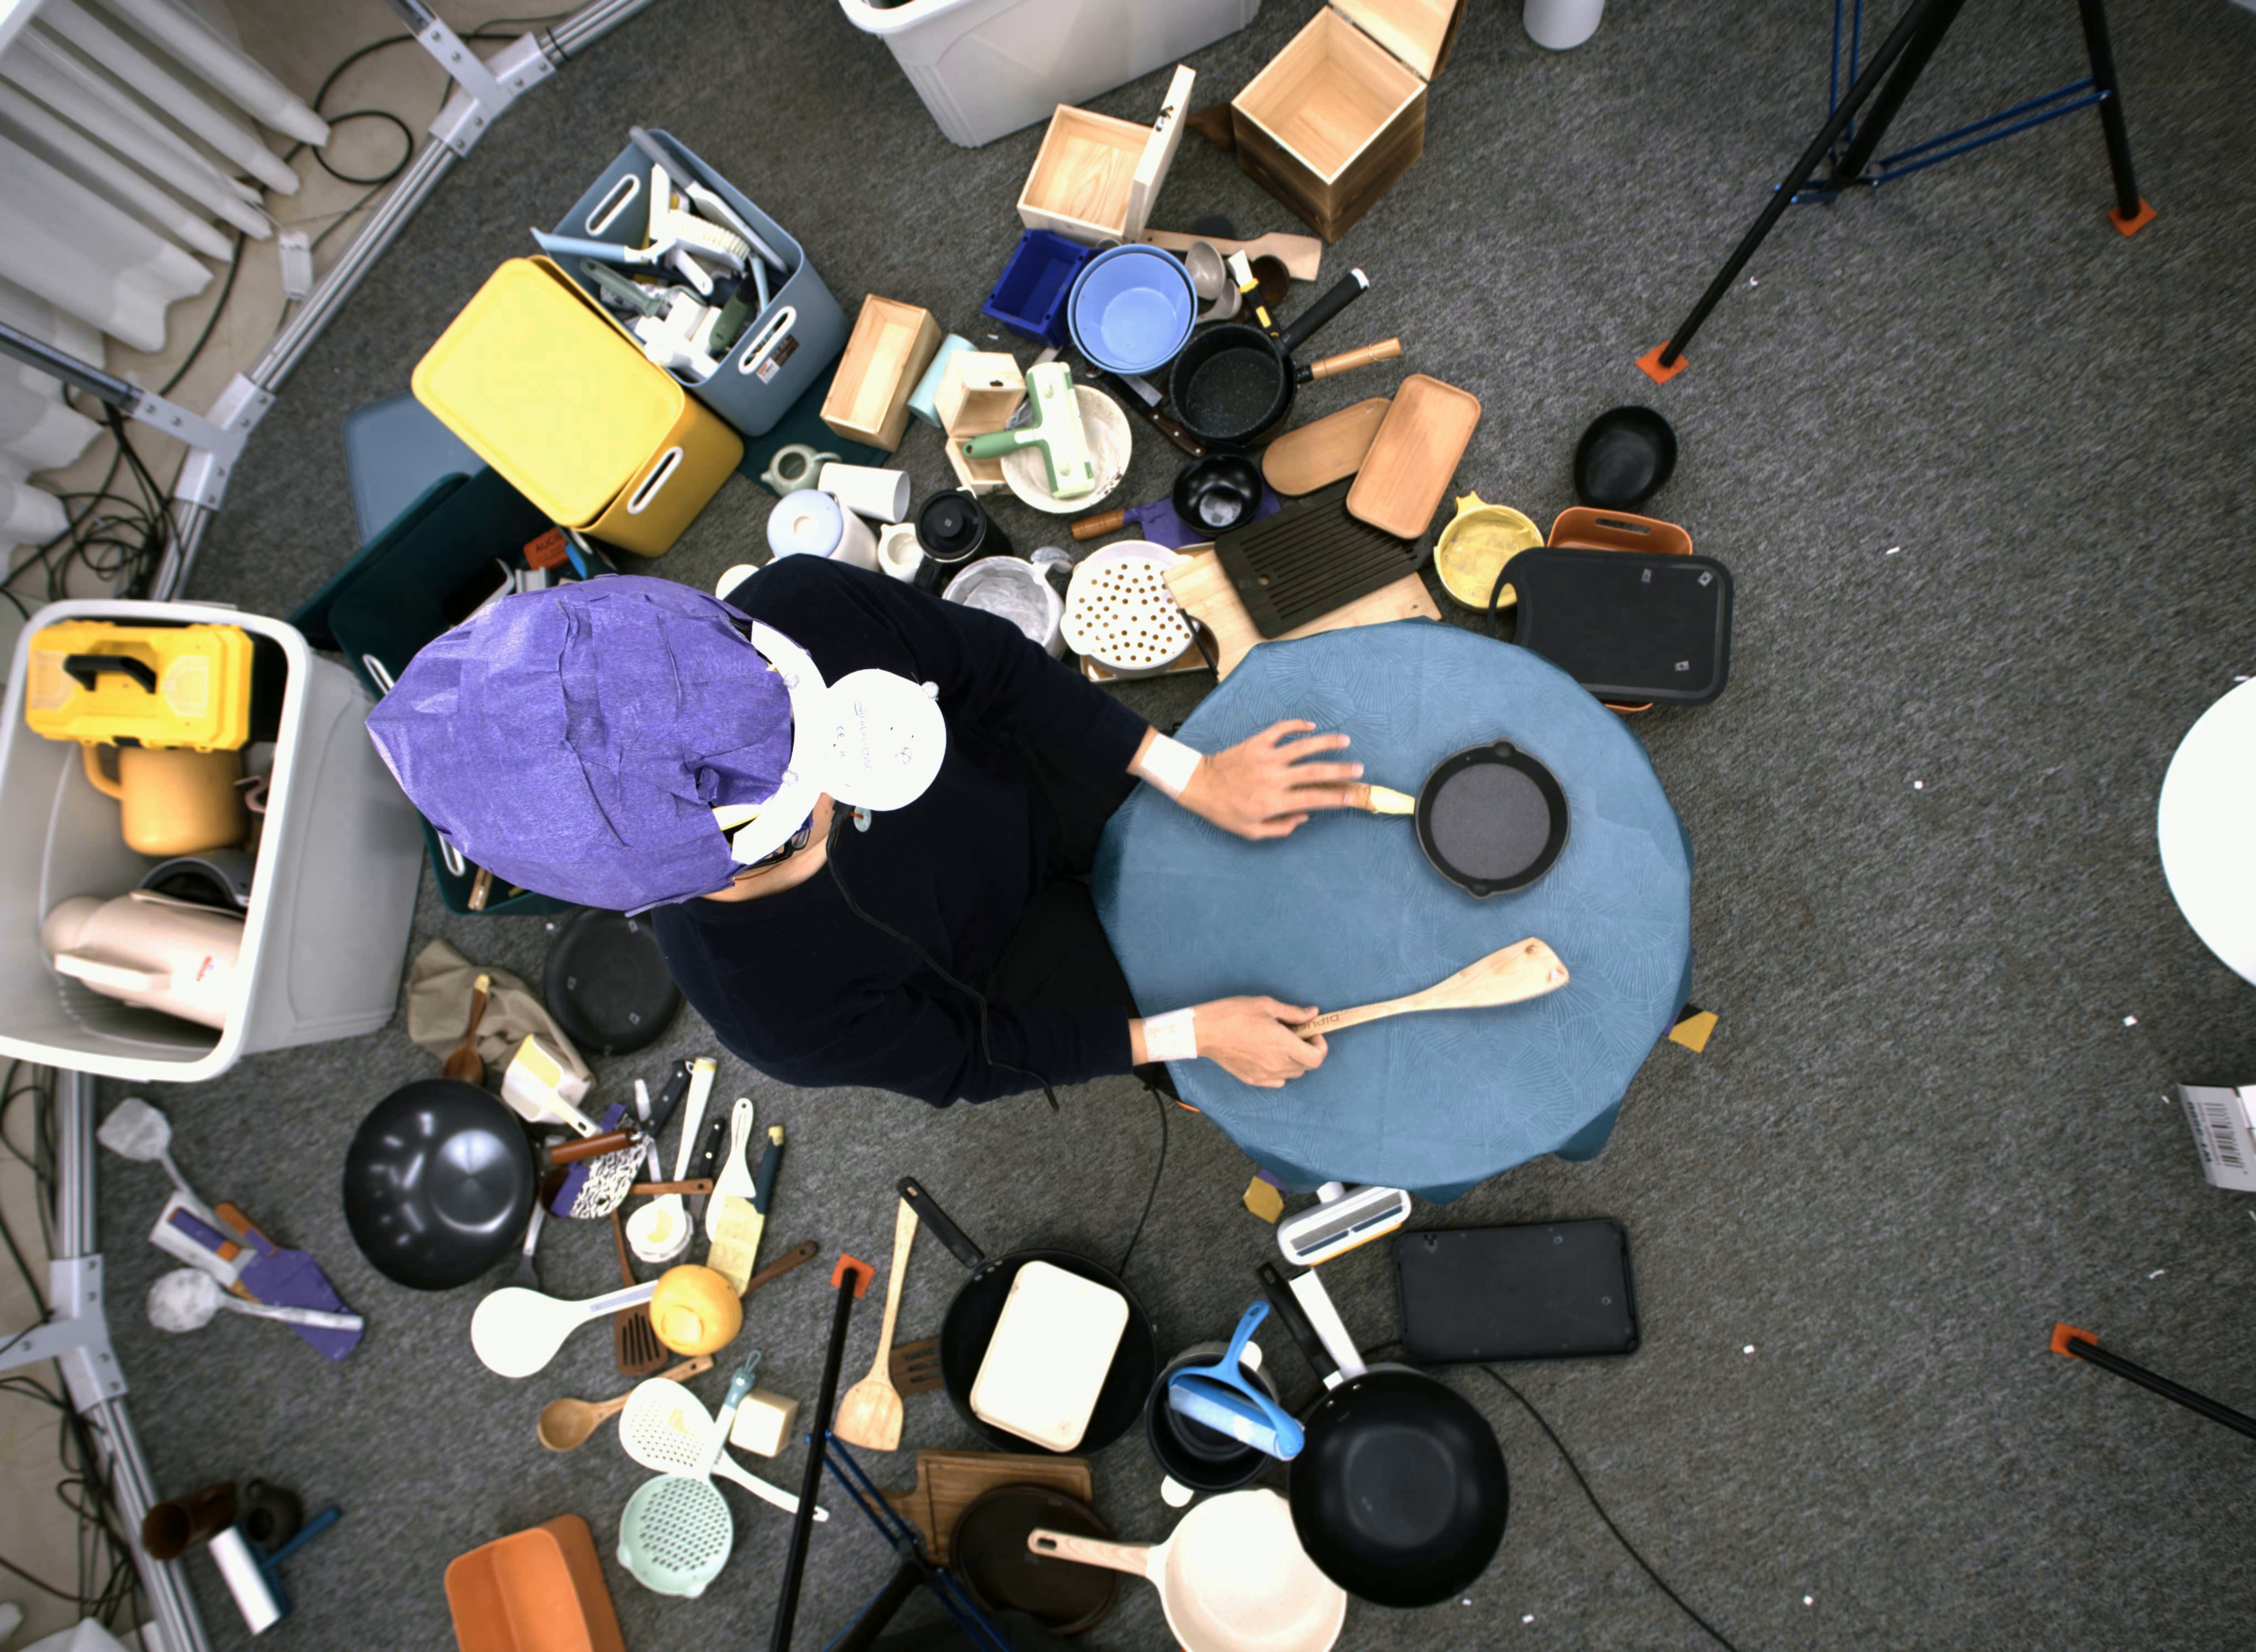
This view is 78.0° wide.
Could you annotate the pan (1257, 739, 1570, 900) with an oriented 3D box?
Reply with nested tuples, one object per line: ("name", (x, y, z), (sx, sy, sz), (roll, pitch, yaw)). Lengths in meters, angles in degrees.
("pan", (0.295, -0.026, 1.435), (0.325, 0.049, 0.168), (12, 89, 10))

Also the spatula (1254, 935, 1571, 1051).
("spatula", (0.287, 0.180, 1.430), (0.329, 0.017, 0.078), (-16, 45, 10))
